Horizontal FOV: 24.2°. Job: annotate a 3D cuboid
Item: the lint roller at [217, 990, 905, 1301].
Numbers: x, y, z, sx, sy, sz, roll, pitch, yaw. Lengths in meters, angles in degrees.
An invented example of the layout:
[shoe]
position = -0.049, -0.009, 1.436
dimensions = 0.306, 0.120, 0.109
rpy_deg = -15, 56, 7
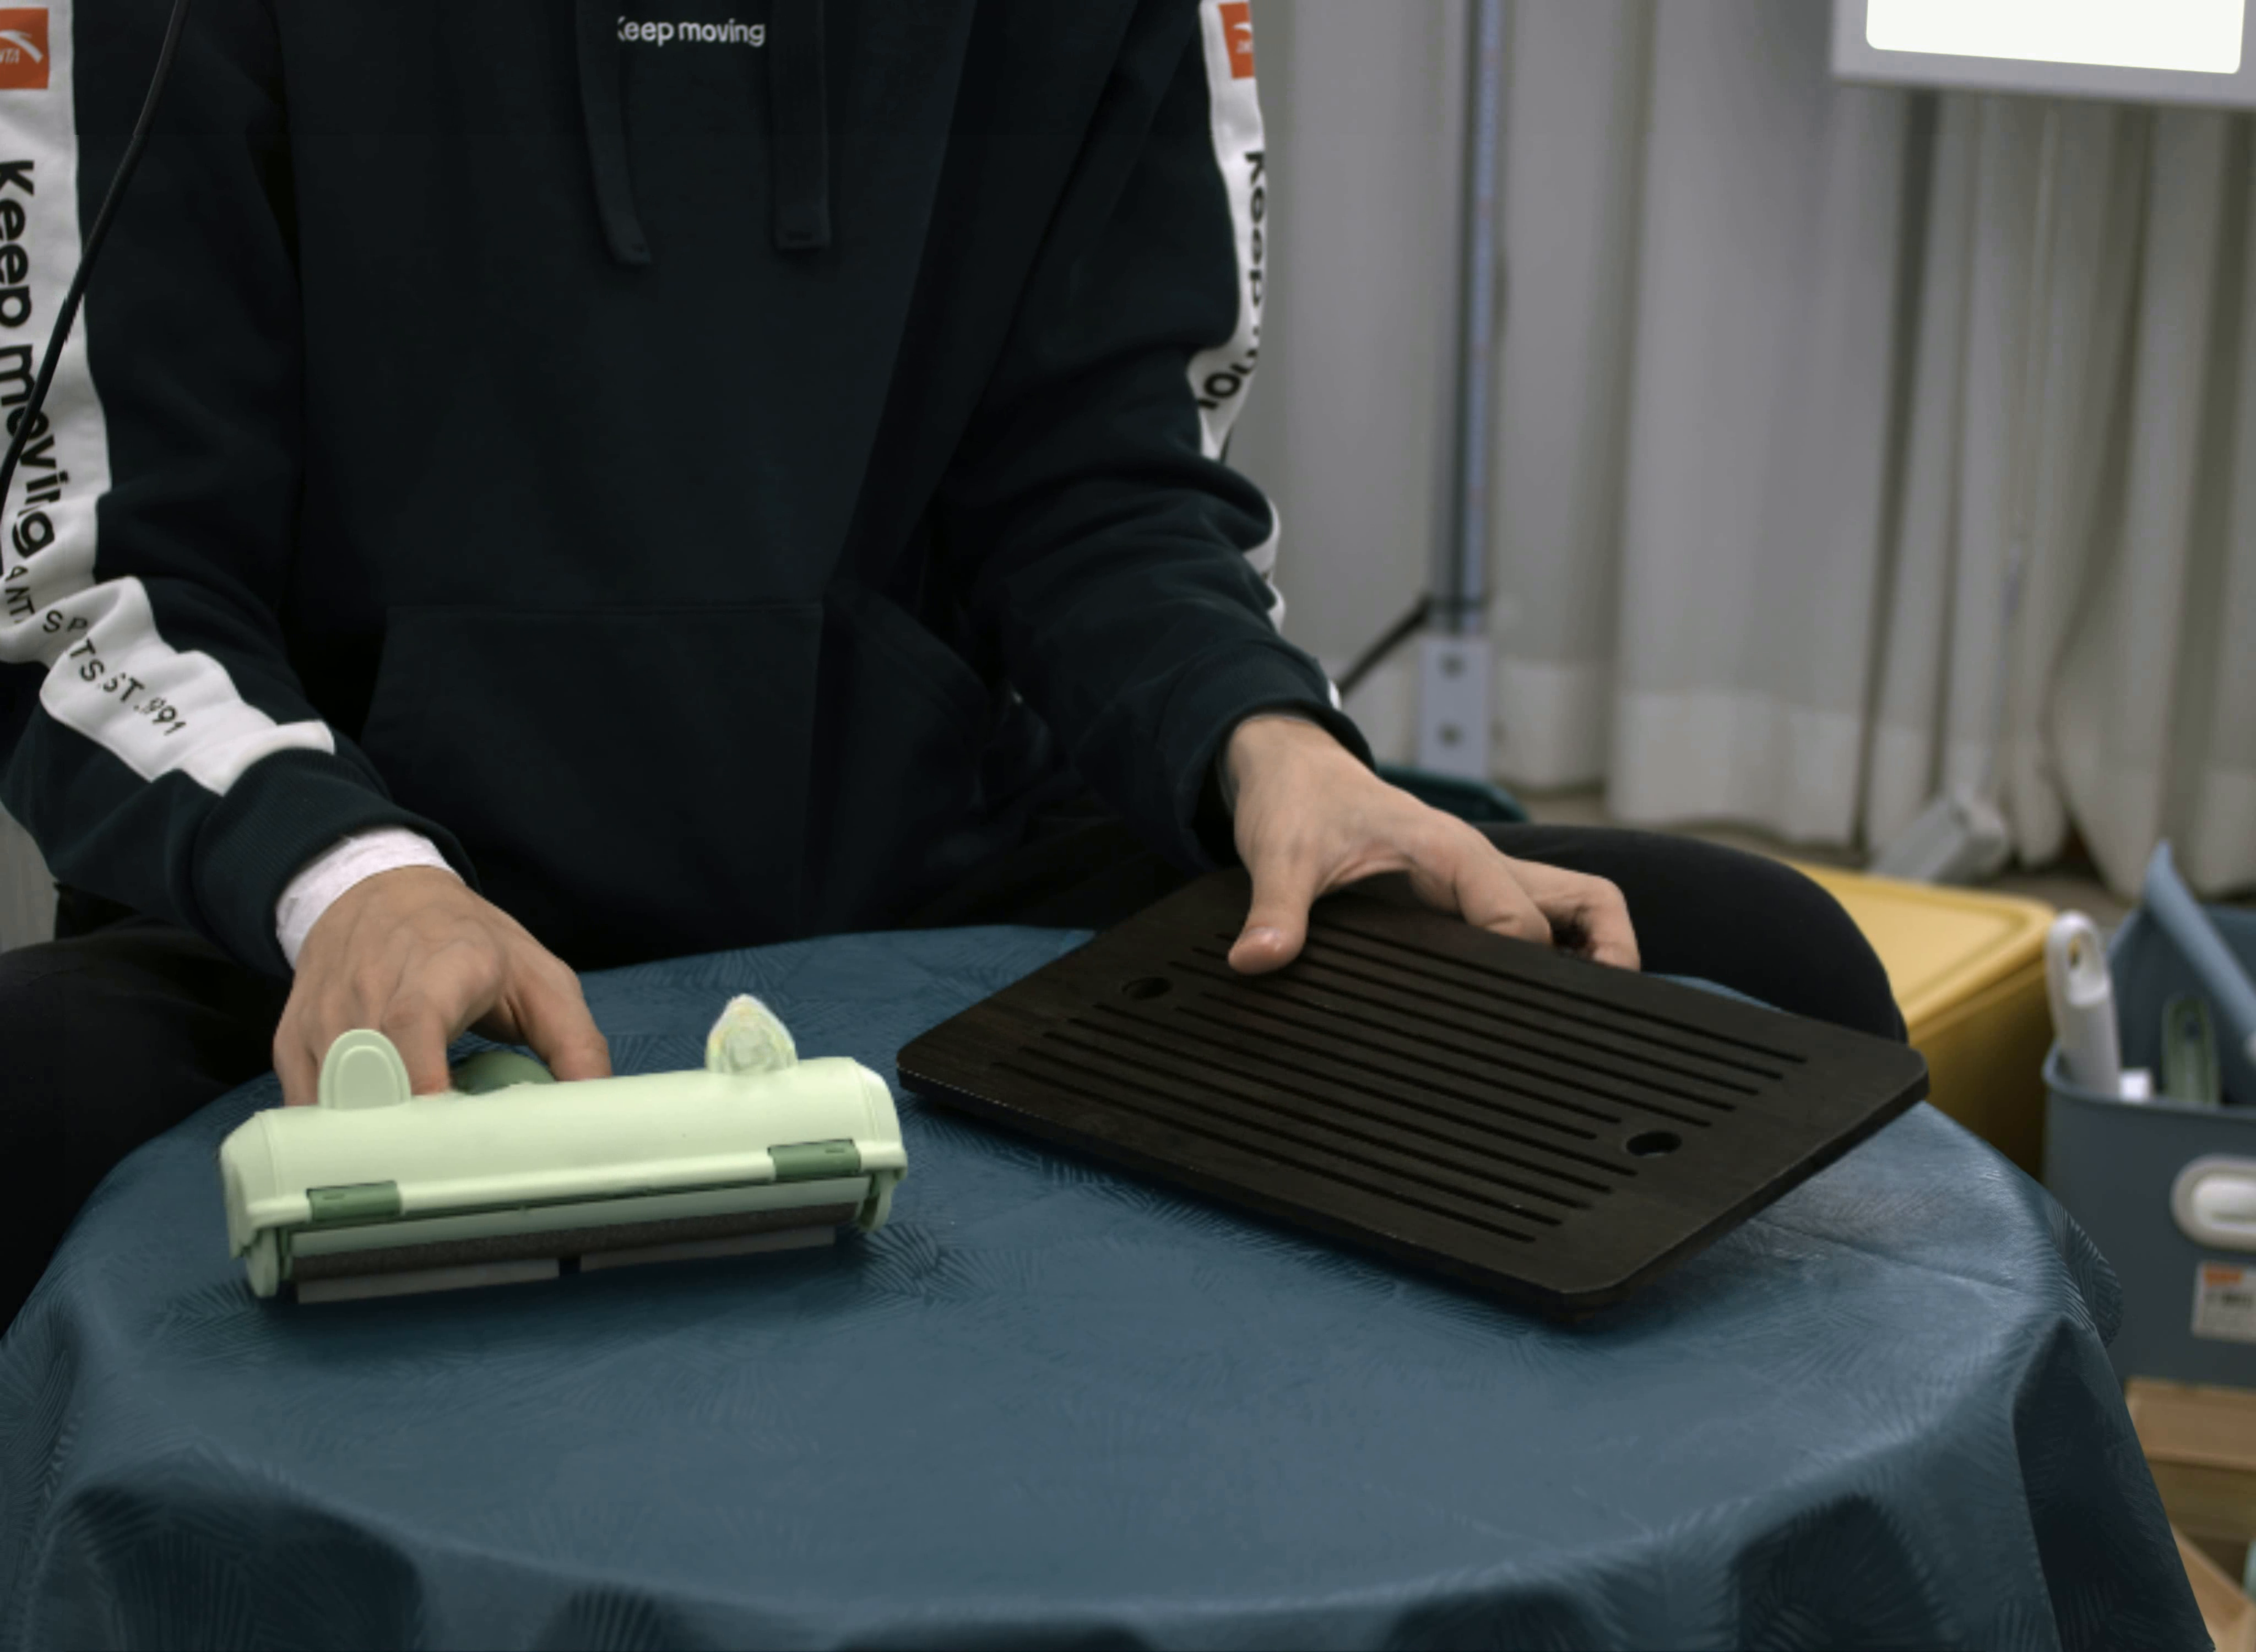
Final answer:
[lint roller]
position = -0.182, 0.078, 1.586
dimensions = 0.199, 0.083, 0.181
rpy_deg = -5, 20, -17

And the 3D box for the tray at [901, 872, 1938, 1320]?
[tray]
position = 0.087, 0.080, 1.648
dimensions = 0.302, 0.019, 0.170
rpy_deg = 15, 32, 43
